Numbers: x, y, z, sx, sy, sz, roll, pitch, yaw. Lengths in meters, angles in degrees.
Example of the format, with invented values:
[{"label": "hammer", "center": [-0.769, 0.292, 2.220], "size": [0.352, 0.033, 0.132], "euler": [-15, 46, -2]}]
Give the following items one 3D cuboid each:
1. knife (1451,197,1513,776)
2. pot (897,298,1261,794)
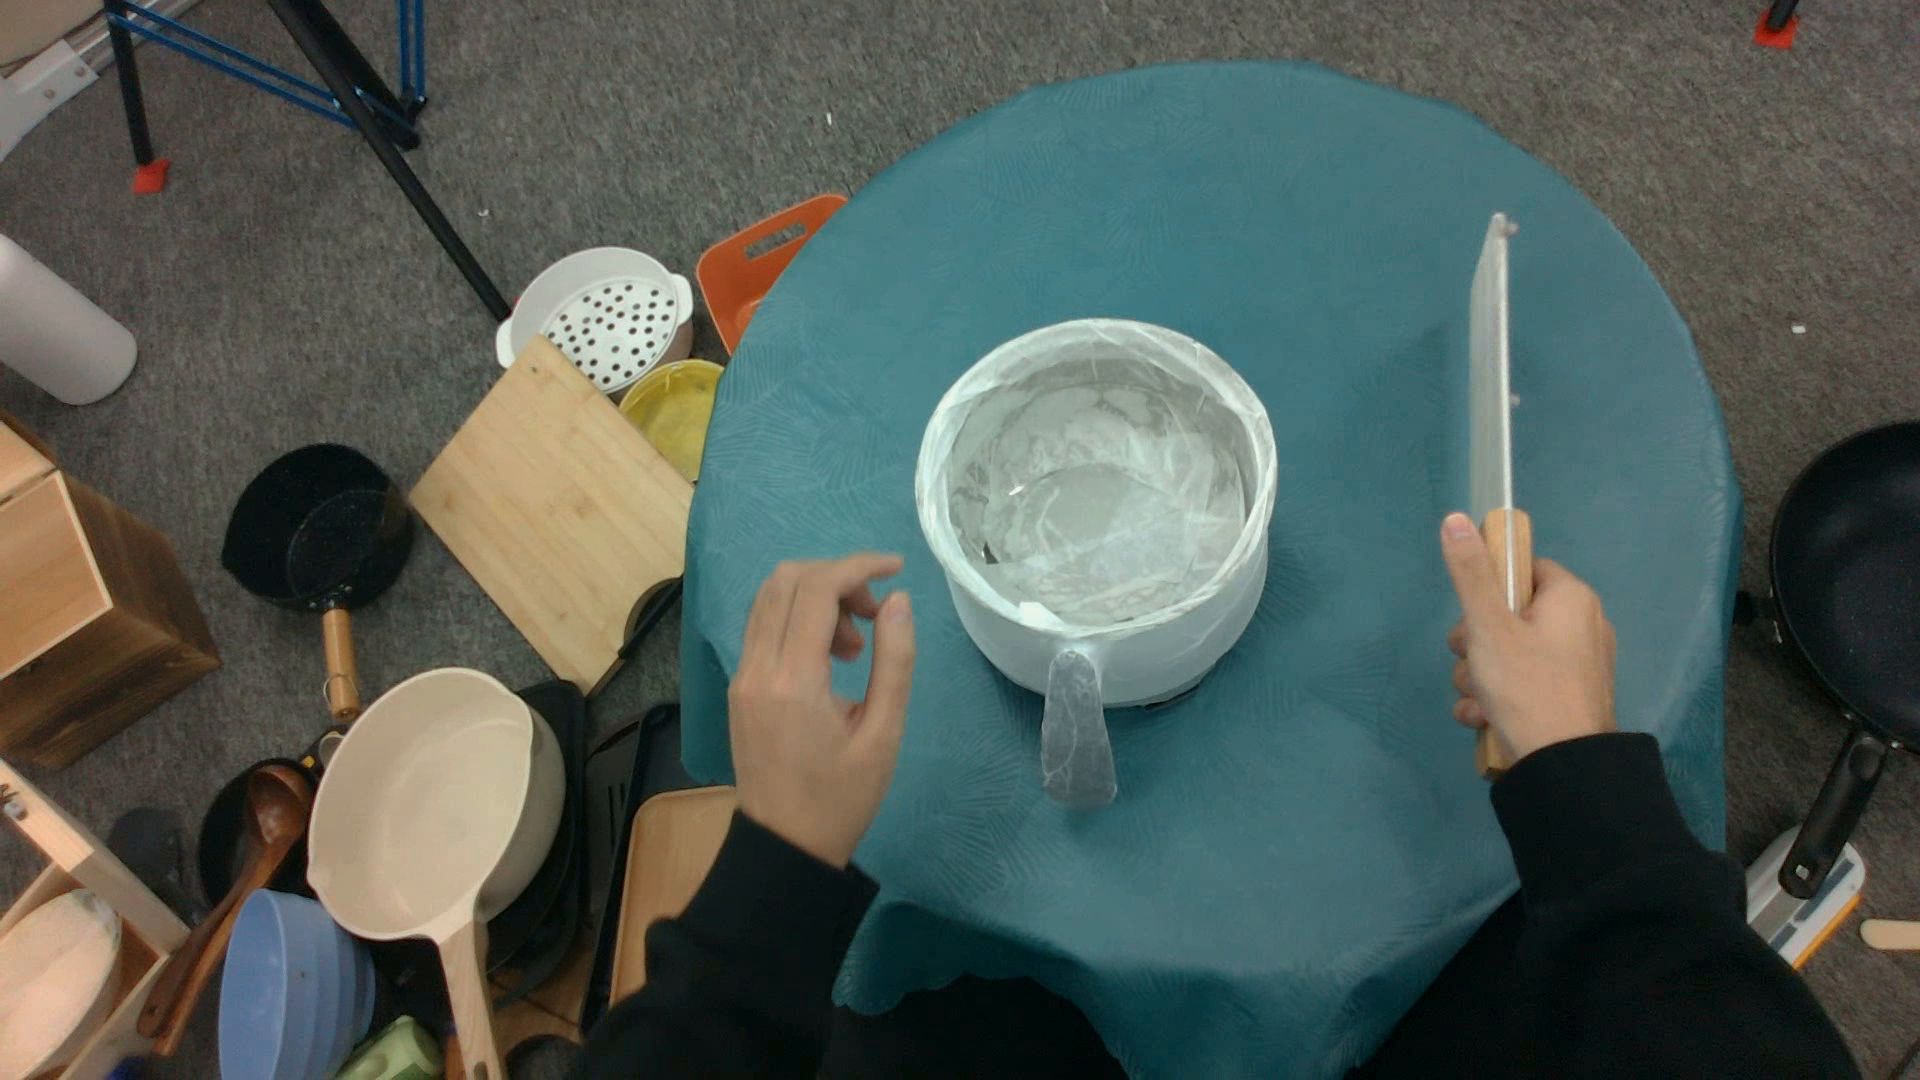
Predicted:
[{"label": "knife", "center": [0.261, -0.034, 0.698], "size": [0.022, 0.113, 0.316], "euler": [4, 64, 9]}, {"label": "pot", "center": [0.063, 0.007, 0.715], "size": [0.178, 0.136, 0.234], "euler": [2, 65, 11]}]
